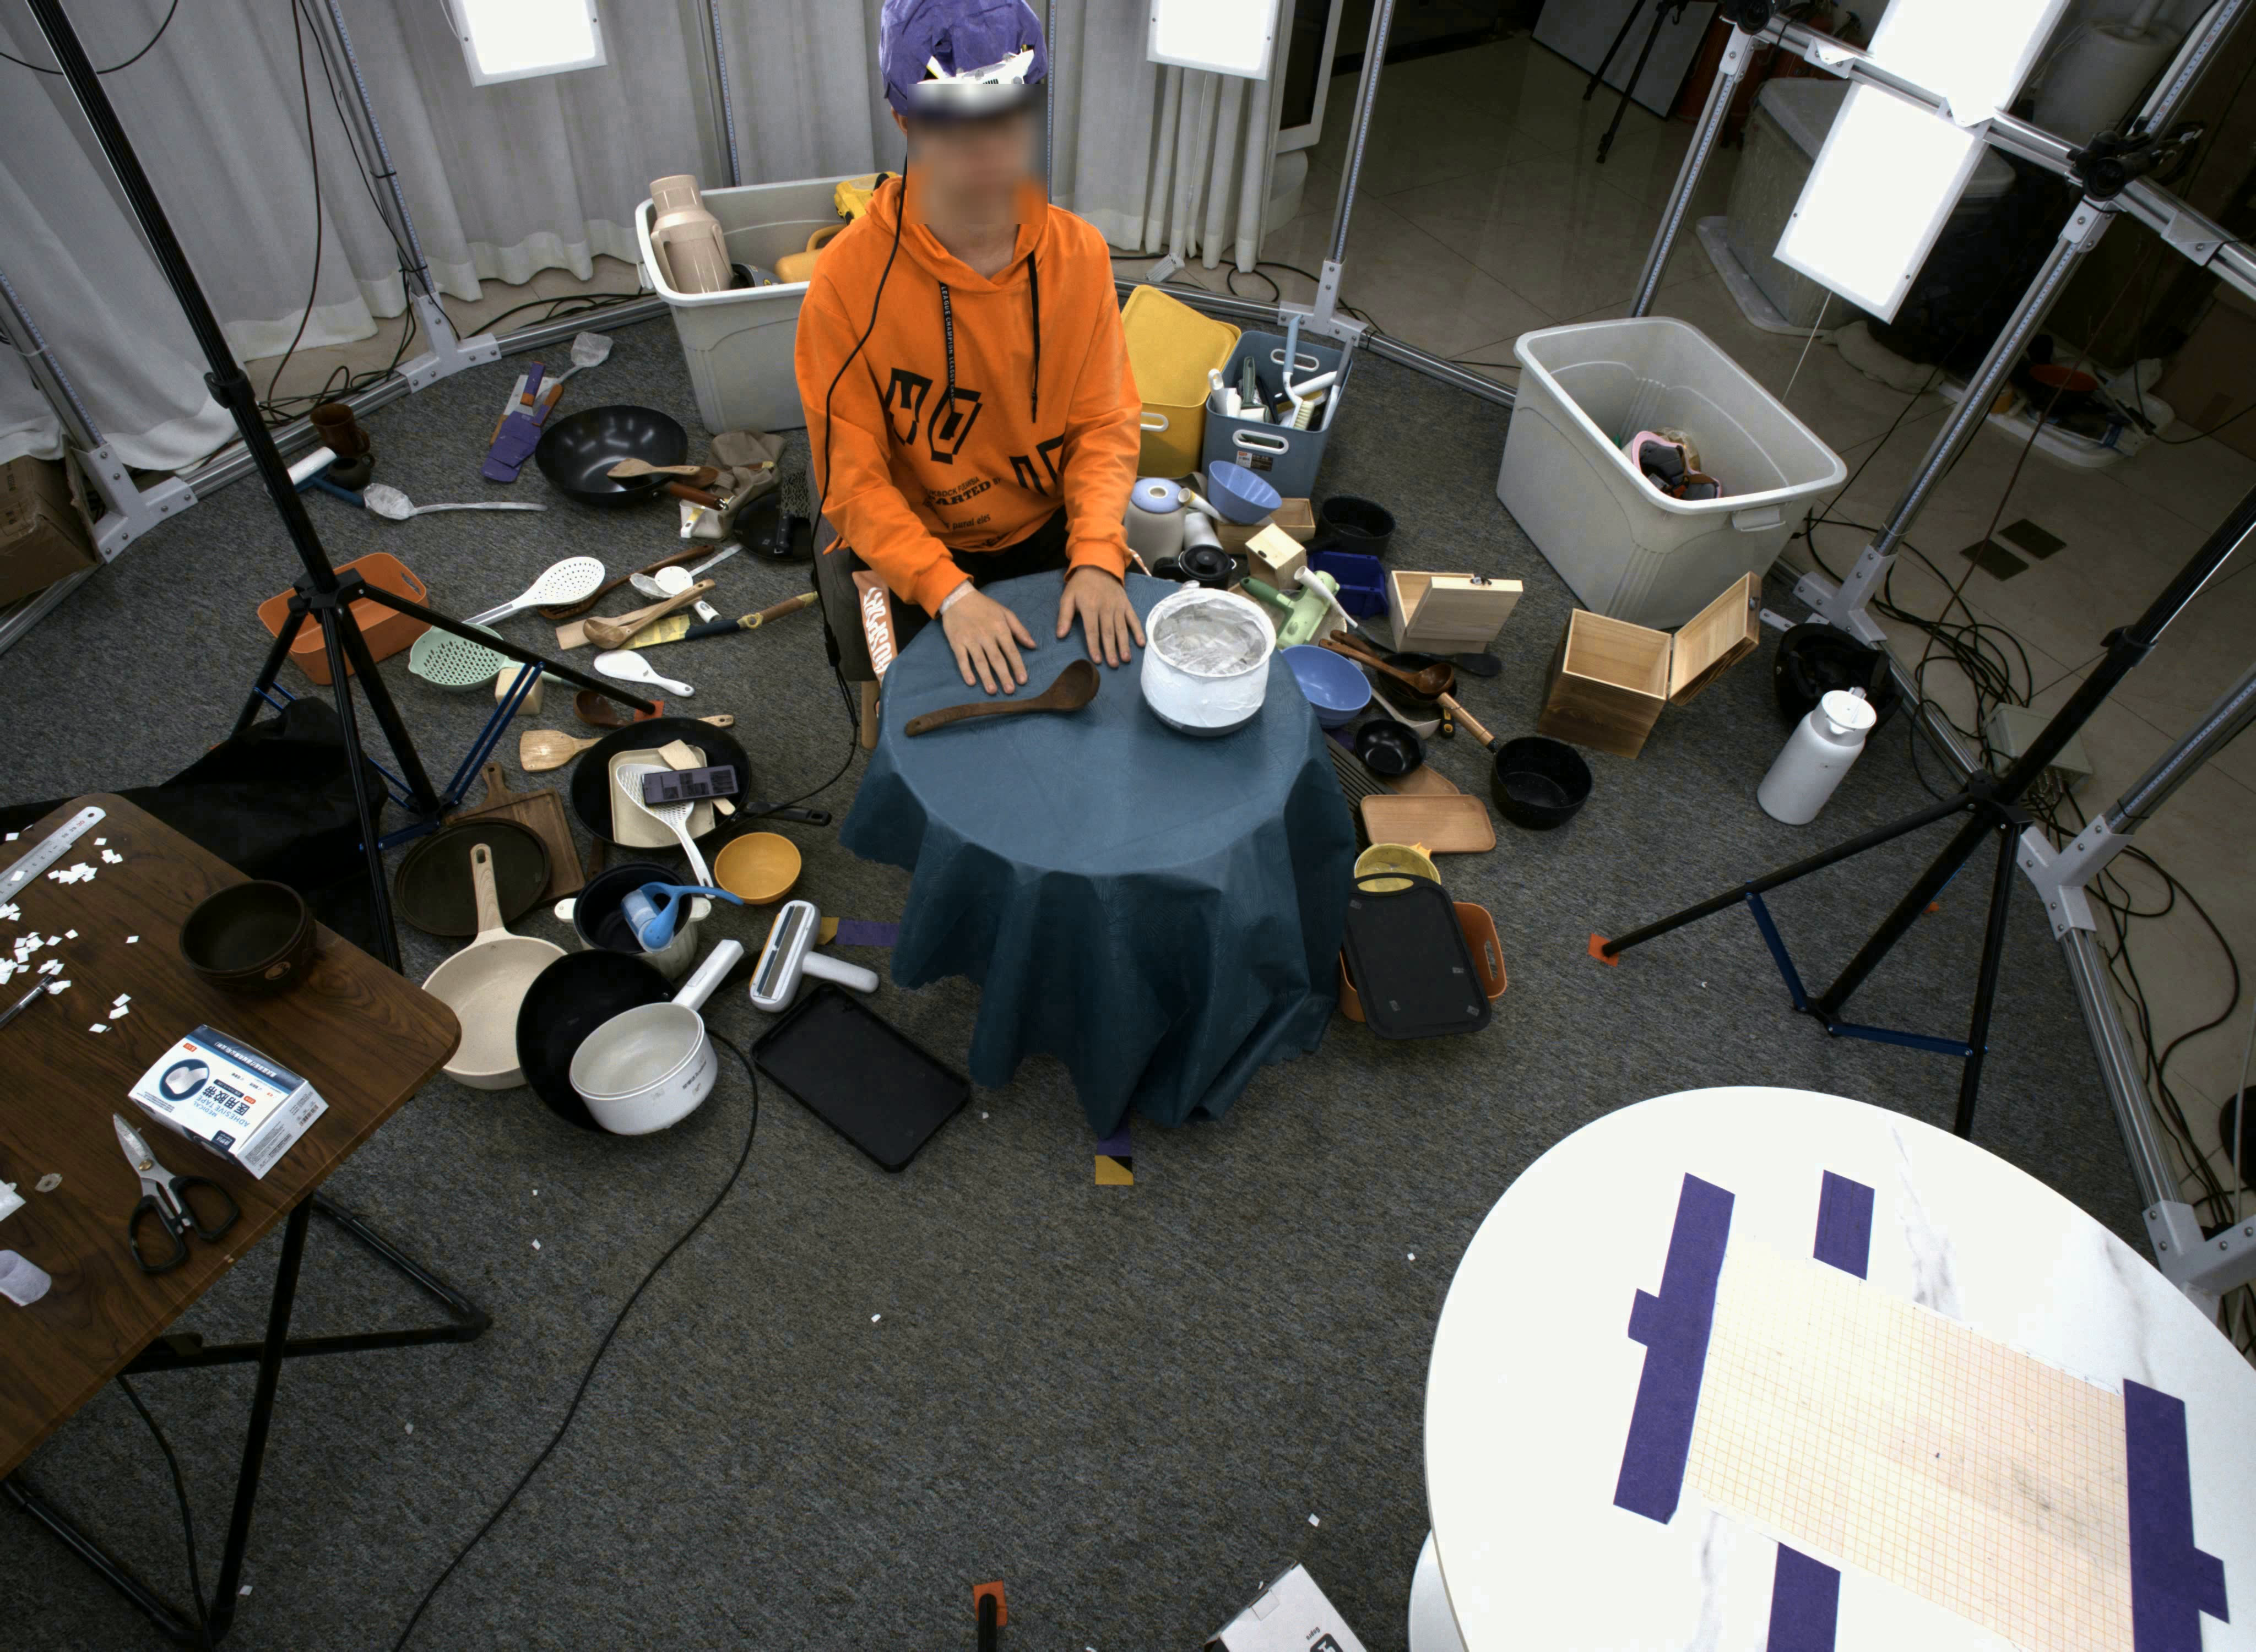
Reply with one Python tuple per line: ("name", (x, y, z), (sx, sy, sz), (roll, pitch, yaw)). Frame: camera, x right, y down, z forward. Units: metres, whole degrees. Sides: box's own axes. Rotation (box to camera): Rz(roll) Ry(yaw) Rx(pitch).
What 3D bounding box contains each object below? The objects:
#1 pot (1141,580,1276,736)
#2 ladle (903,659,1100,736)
("pot", (0.101, -0.244, 1.799), (0.178, 0.133, 0.239), (-8, 50, -11))
("ladle", (-0.173, -0.176, 1.765), (0.274, 0.069, 0.078), (-11, 49, -14))
